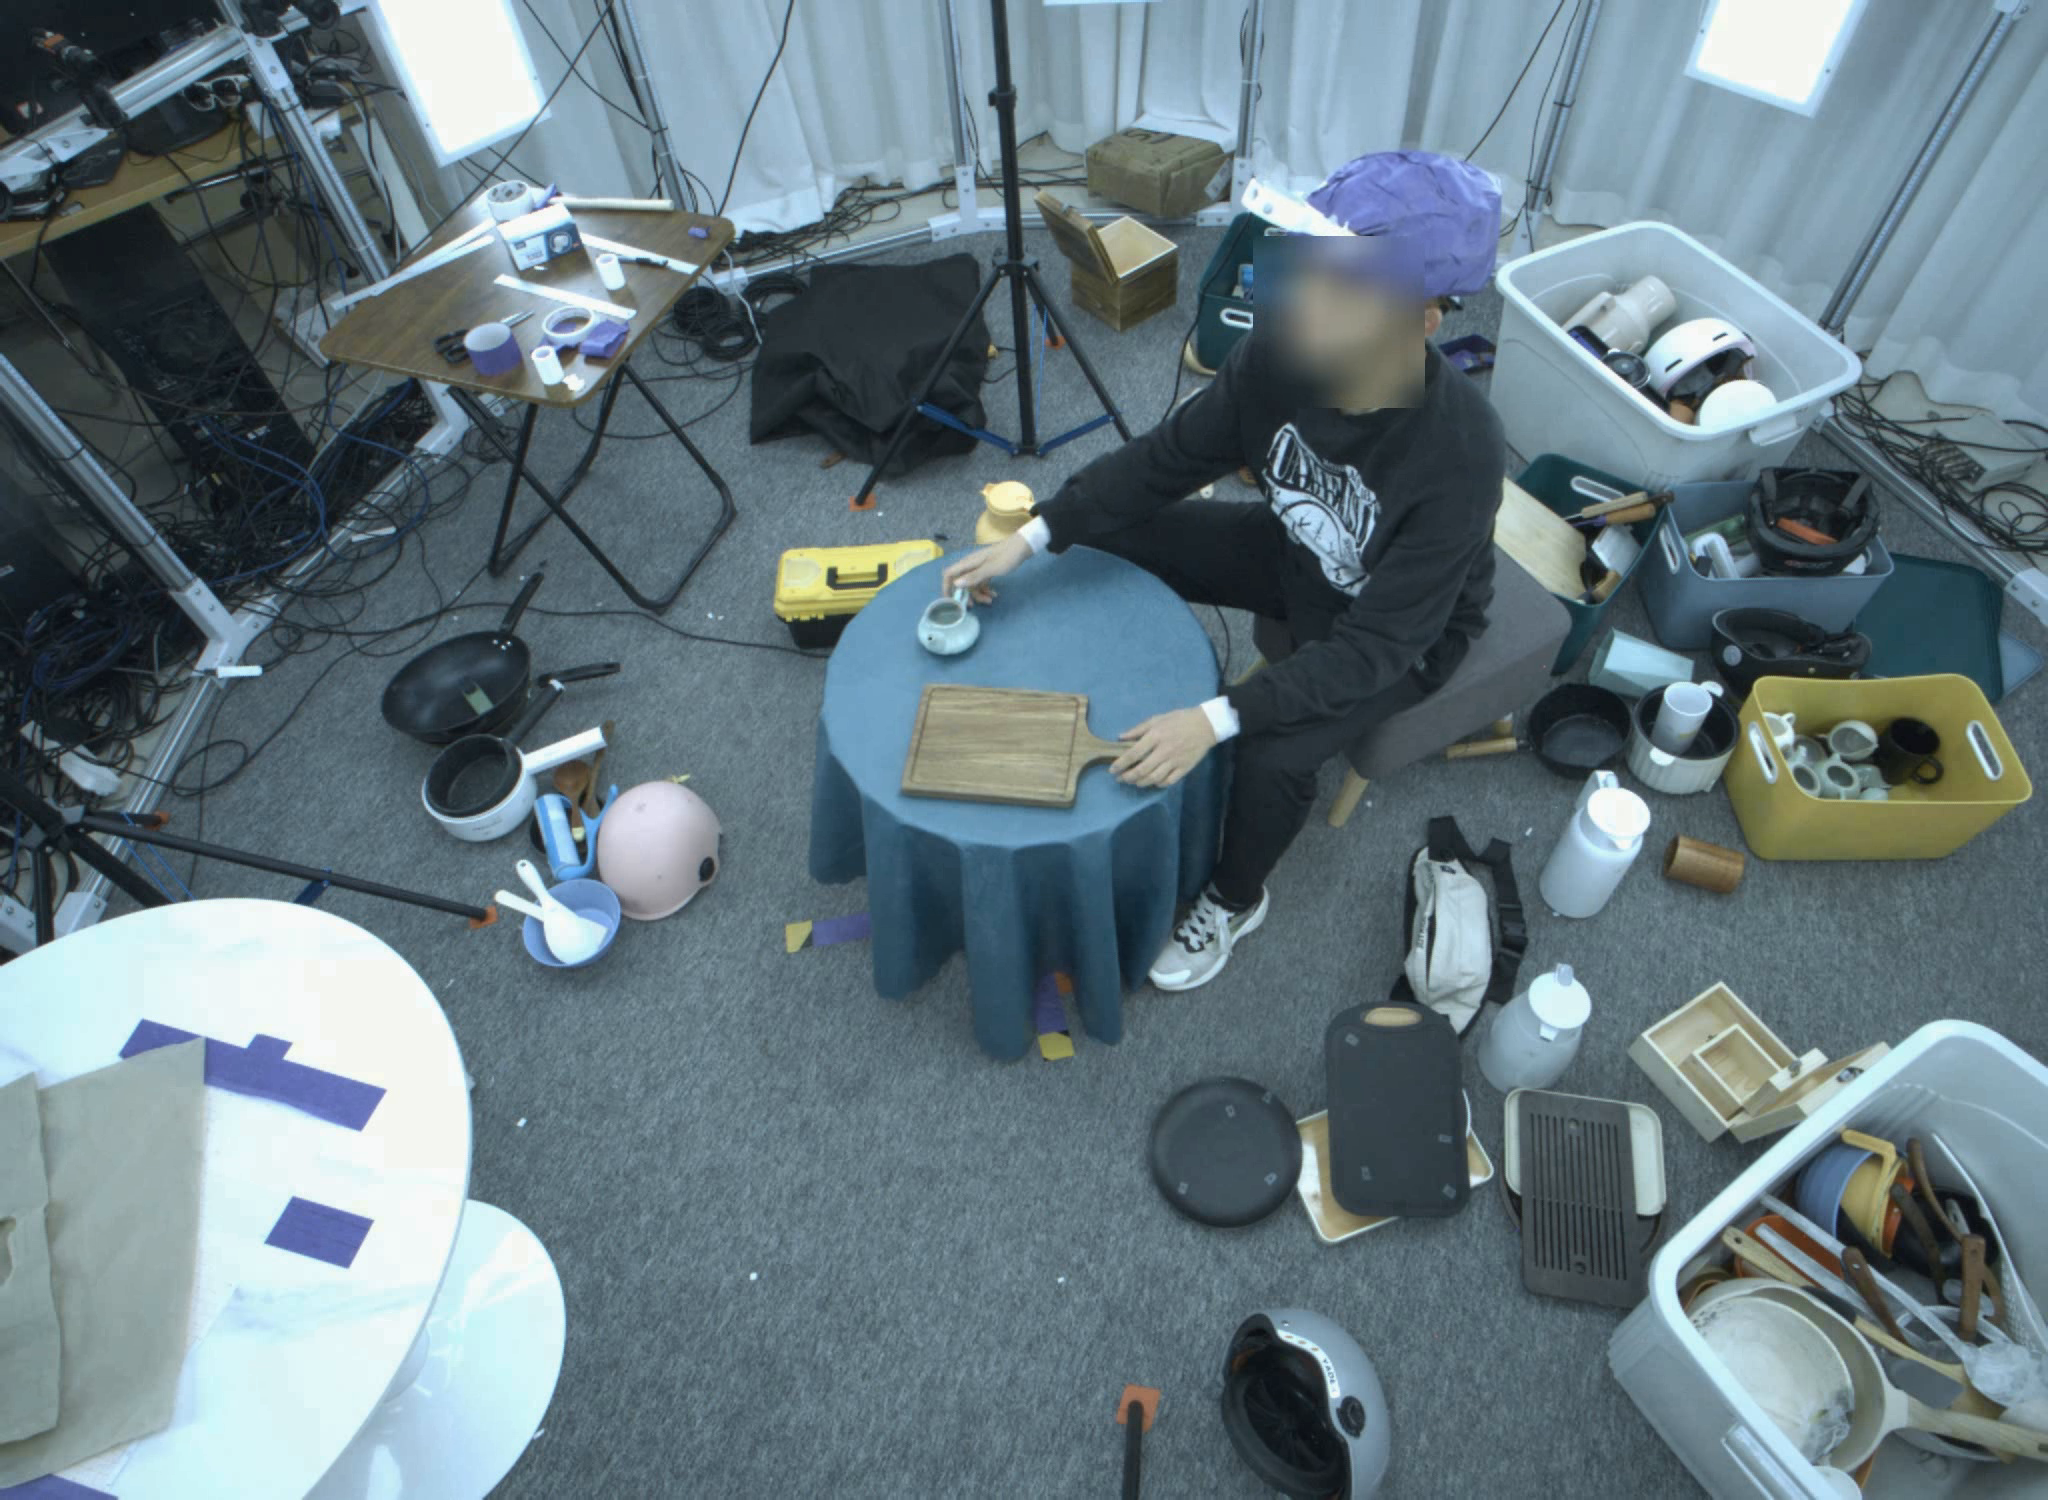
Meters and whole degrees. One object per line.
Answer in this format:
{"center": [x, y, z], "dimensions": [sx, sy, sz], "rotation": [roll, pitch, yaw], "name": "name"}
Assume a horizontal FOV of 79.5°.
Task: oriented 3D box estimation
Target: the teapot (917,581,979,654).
{"center": [-0.118, -0.199, 1.892], "dimensions": [0.095, 0.062, 0.137], "rotation": [15, 57, 14], "name": "teapot"}

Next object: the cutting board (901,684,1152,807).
{"center": [0.008, -0.007, 1.775], "dimensions": [0.351, 0.023, 0.199], "rotation": [4, 55, 5], "name": "cutting board"}
